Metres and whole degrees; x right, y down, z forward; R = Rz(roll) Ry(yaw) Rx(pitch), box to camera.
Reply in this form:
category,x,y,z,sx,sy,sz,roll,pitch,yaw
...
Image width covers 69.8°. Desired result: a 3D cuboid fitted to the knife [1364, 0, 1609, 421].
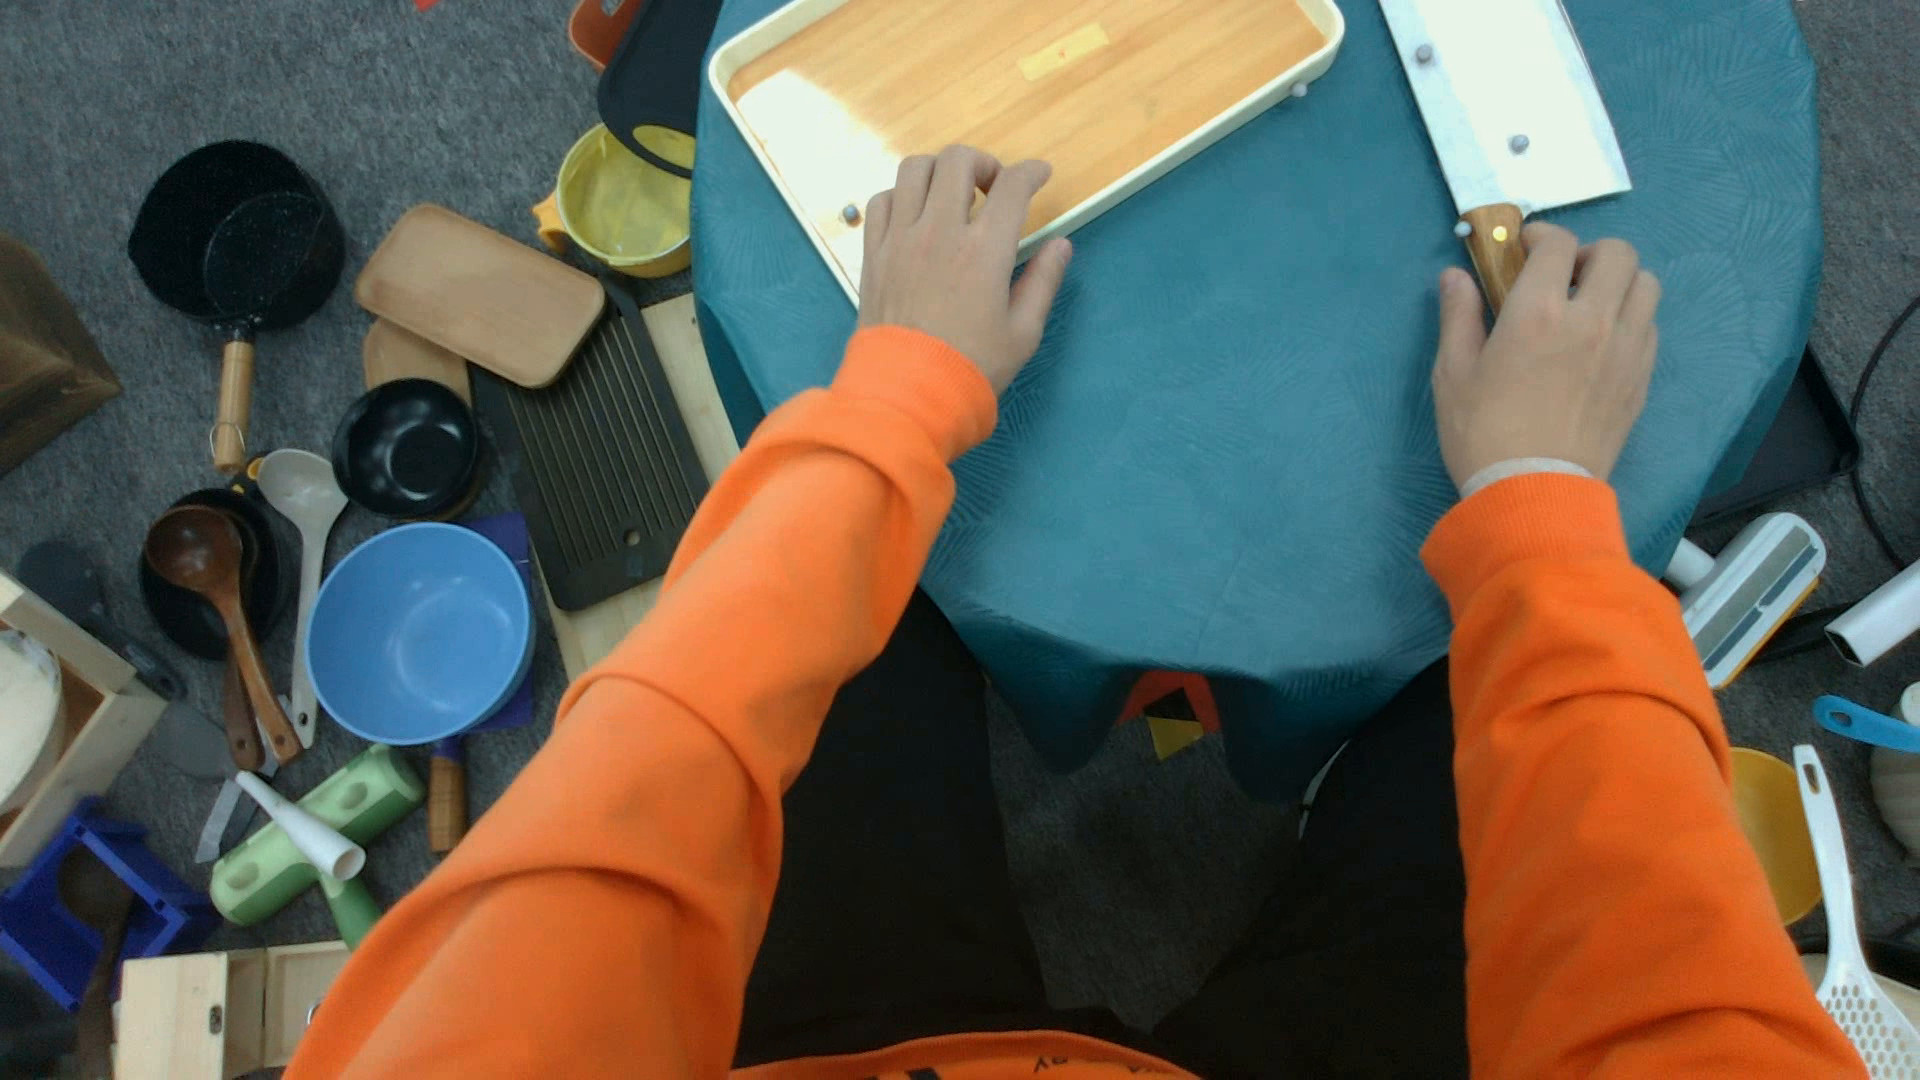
category,x,y,z,sx,sy,sz,roll,pitch,yaw
knife,0.285,-0.211,0.724,0.093,0.021,0.306,-14,75,-1

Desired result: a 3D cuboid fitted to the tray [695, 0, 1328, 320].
category,x,y,z,sx,sy,sz,roll,pitch,yaw
tray,0.026,-0.267,0.748,0.300,0.027,0.192,-32,77,-4
